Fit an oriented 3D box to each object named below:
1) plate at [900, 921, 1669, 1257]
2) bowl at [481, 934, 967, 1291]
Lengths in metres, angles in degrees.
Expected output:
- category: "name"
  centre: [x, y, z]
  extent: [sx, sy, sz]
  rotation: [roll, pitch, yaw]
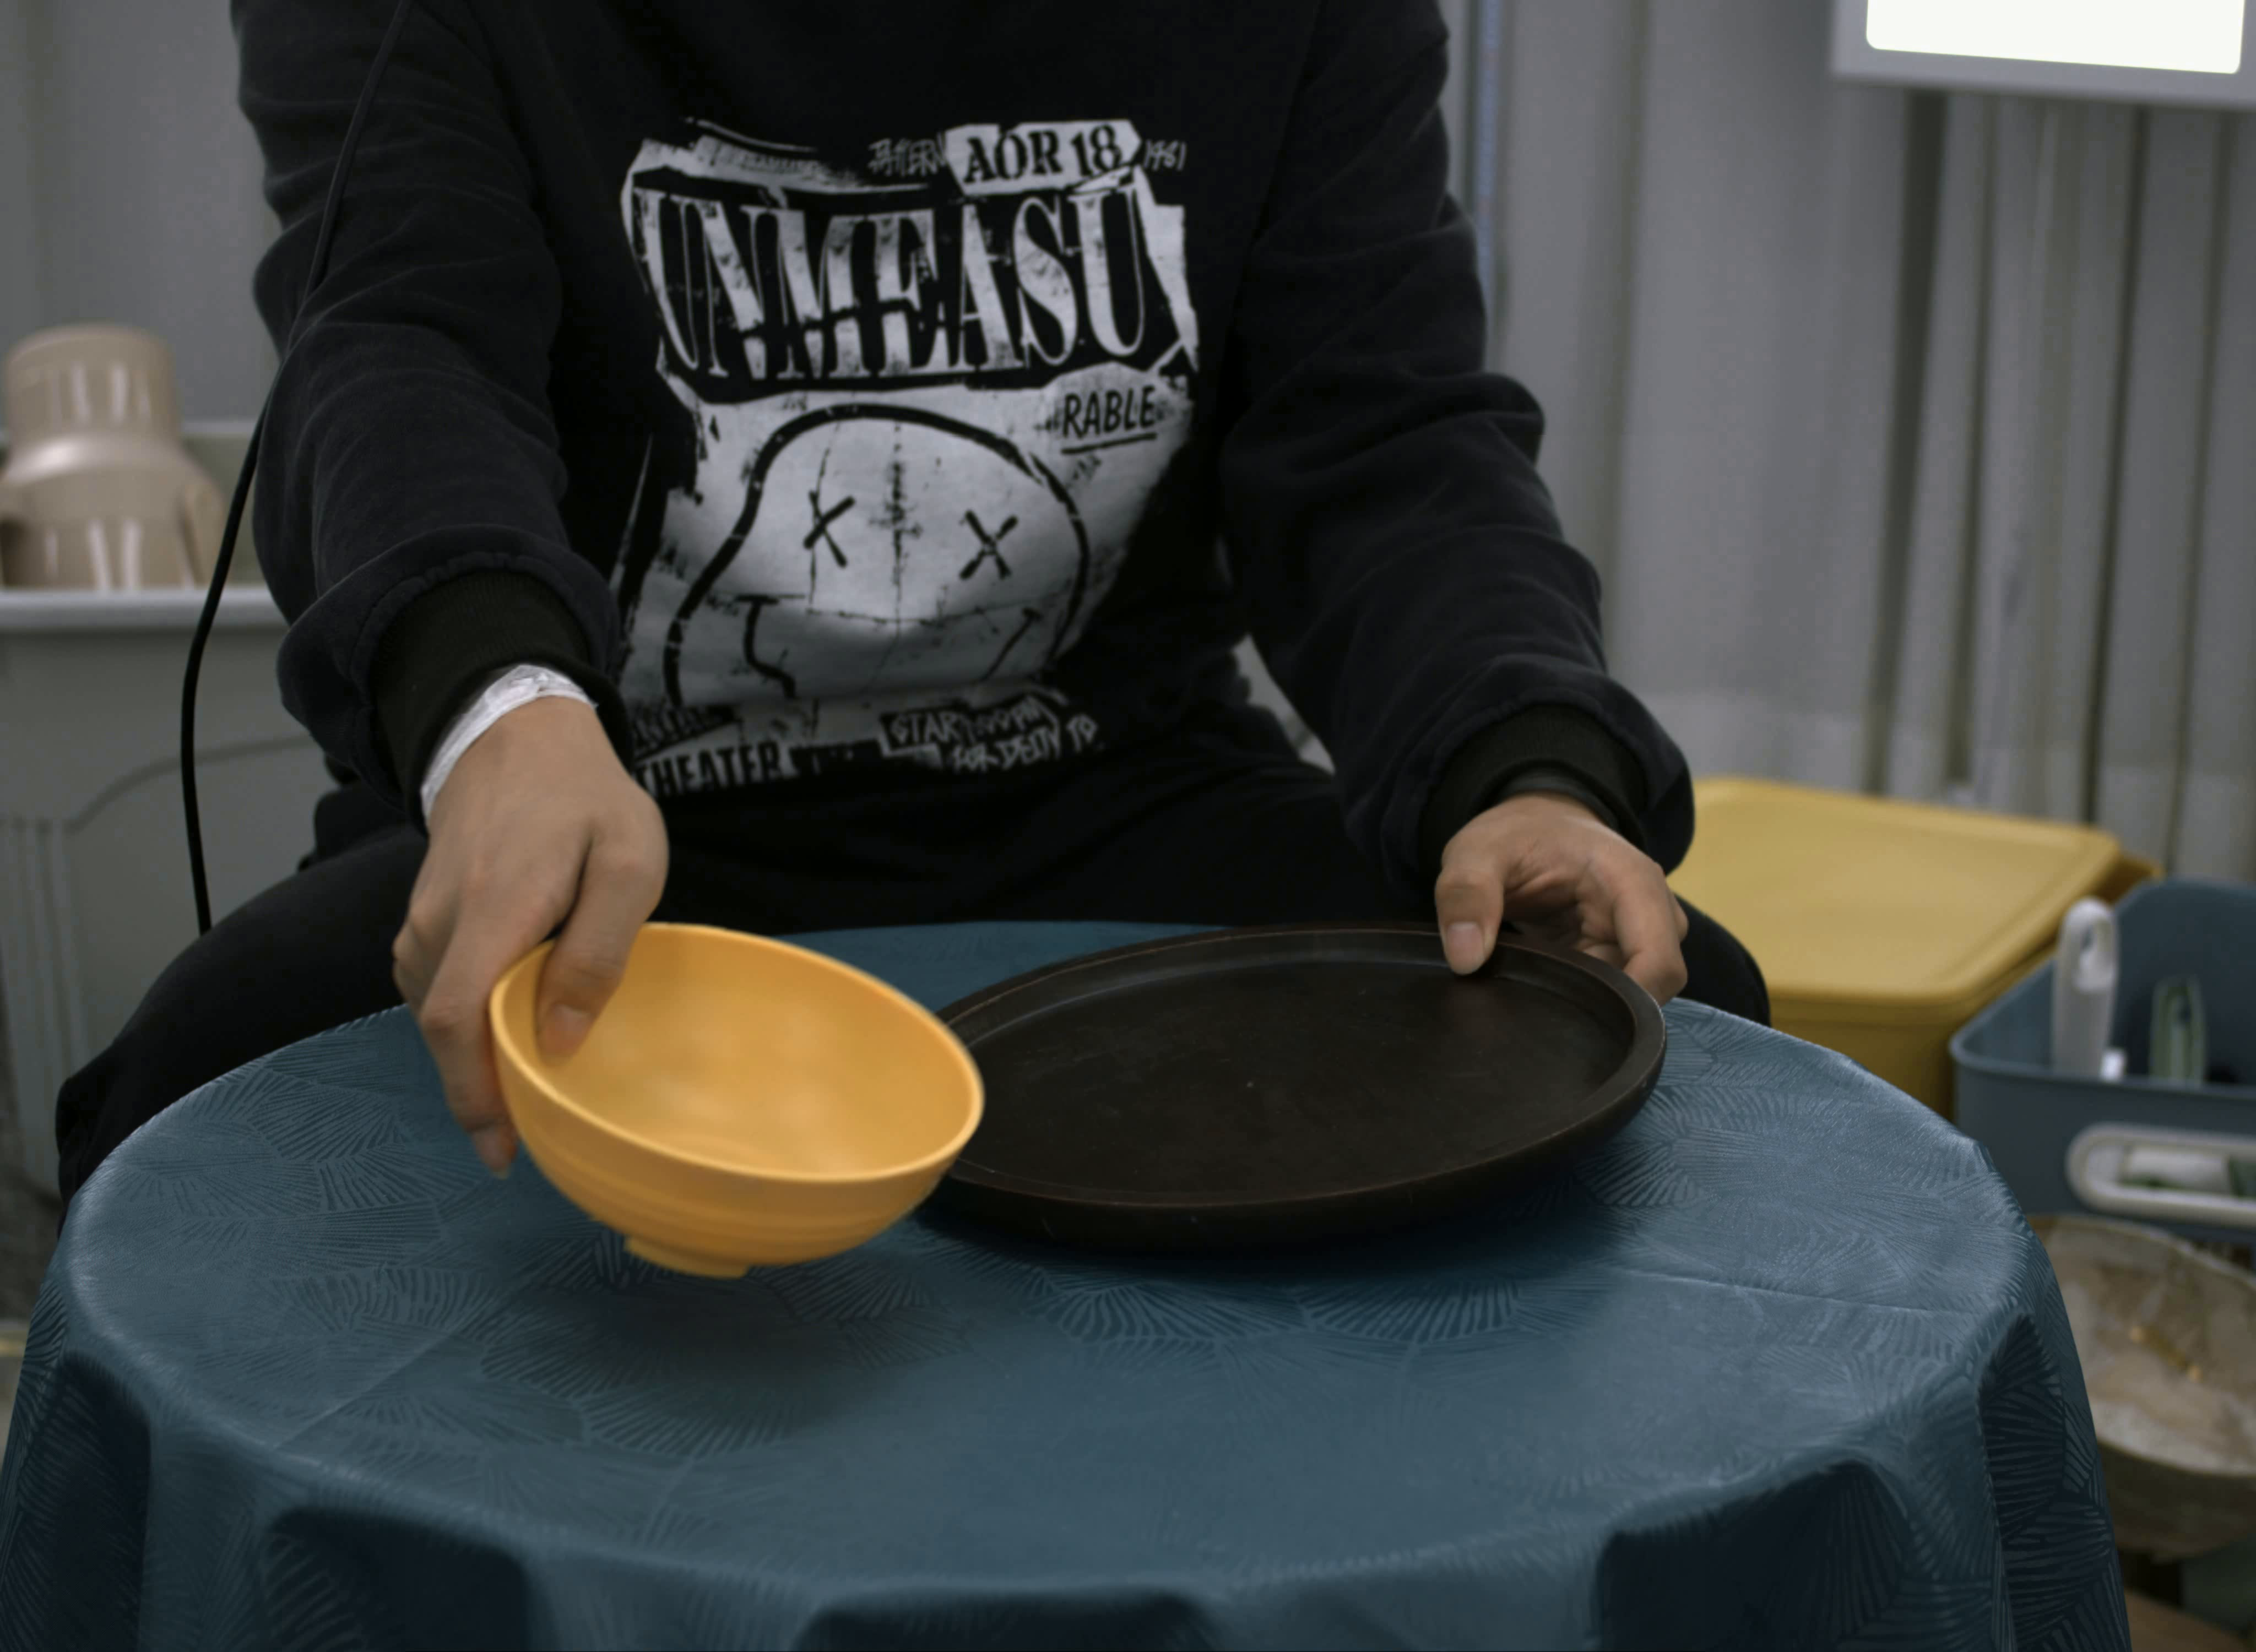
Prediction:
- category: "plate"
  centre: [0.045, 0.080, 1.656]
  extent: [0.254, 0.029, 0.253]
  rotation: [-6, 17, 2]
- category: "bowl"
  centre: [-0.123, 0.092, 1.519]
  extent: [0.145, 0.060, 0.144]
  rotation: [16, 23, -6]
